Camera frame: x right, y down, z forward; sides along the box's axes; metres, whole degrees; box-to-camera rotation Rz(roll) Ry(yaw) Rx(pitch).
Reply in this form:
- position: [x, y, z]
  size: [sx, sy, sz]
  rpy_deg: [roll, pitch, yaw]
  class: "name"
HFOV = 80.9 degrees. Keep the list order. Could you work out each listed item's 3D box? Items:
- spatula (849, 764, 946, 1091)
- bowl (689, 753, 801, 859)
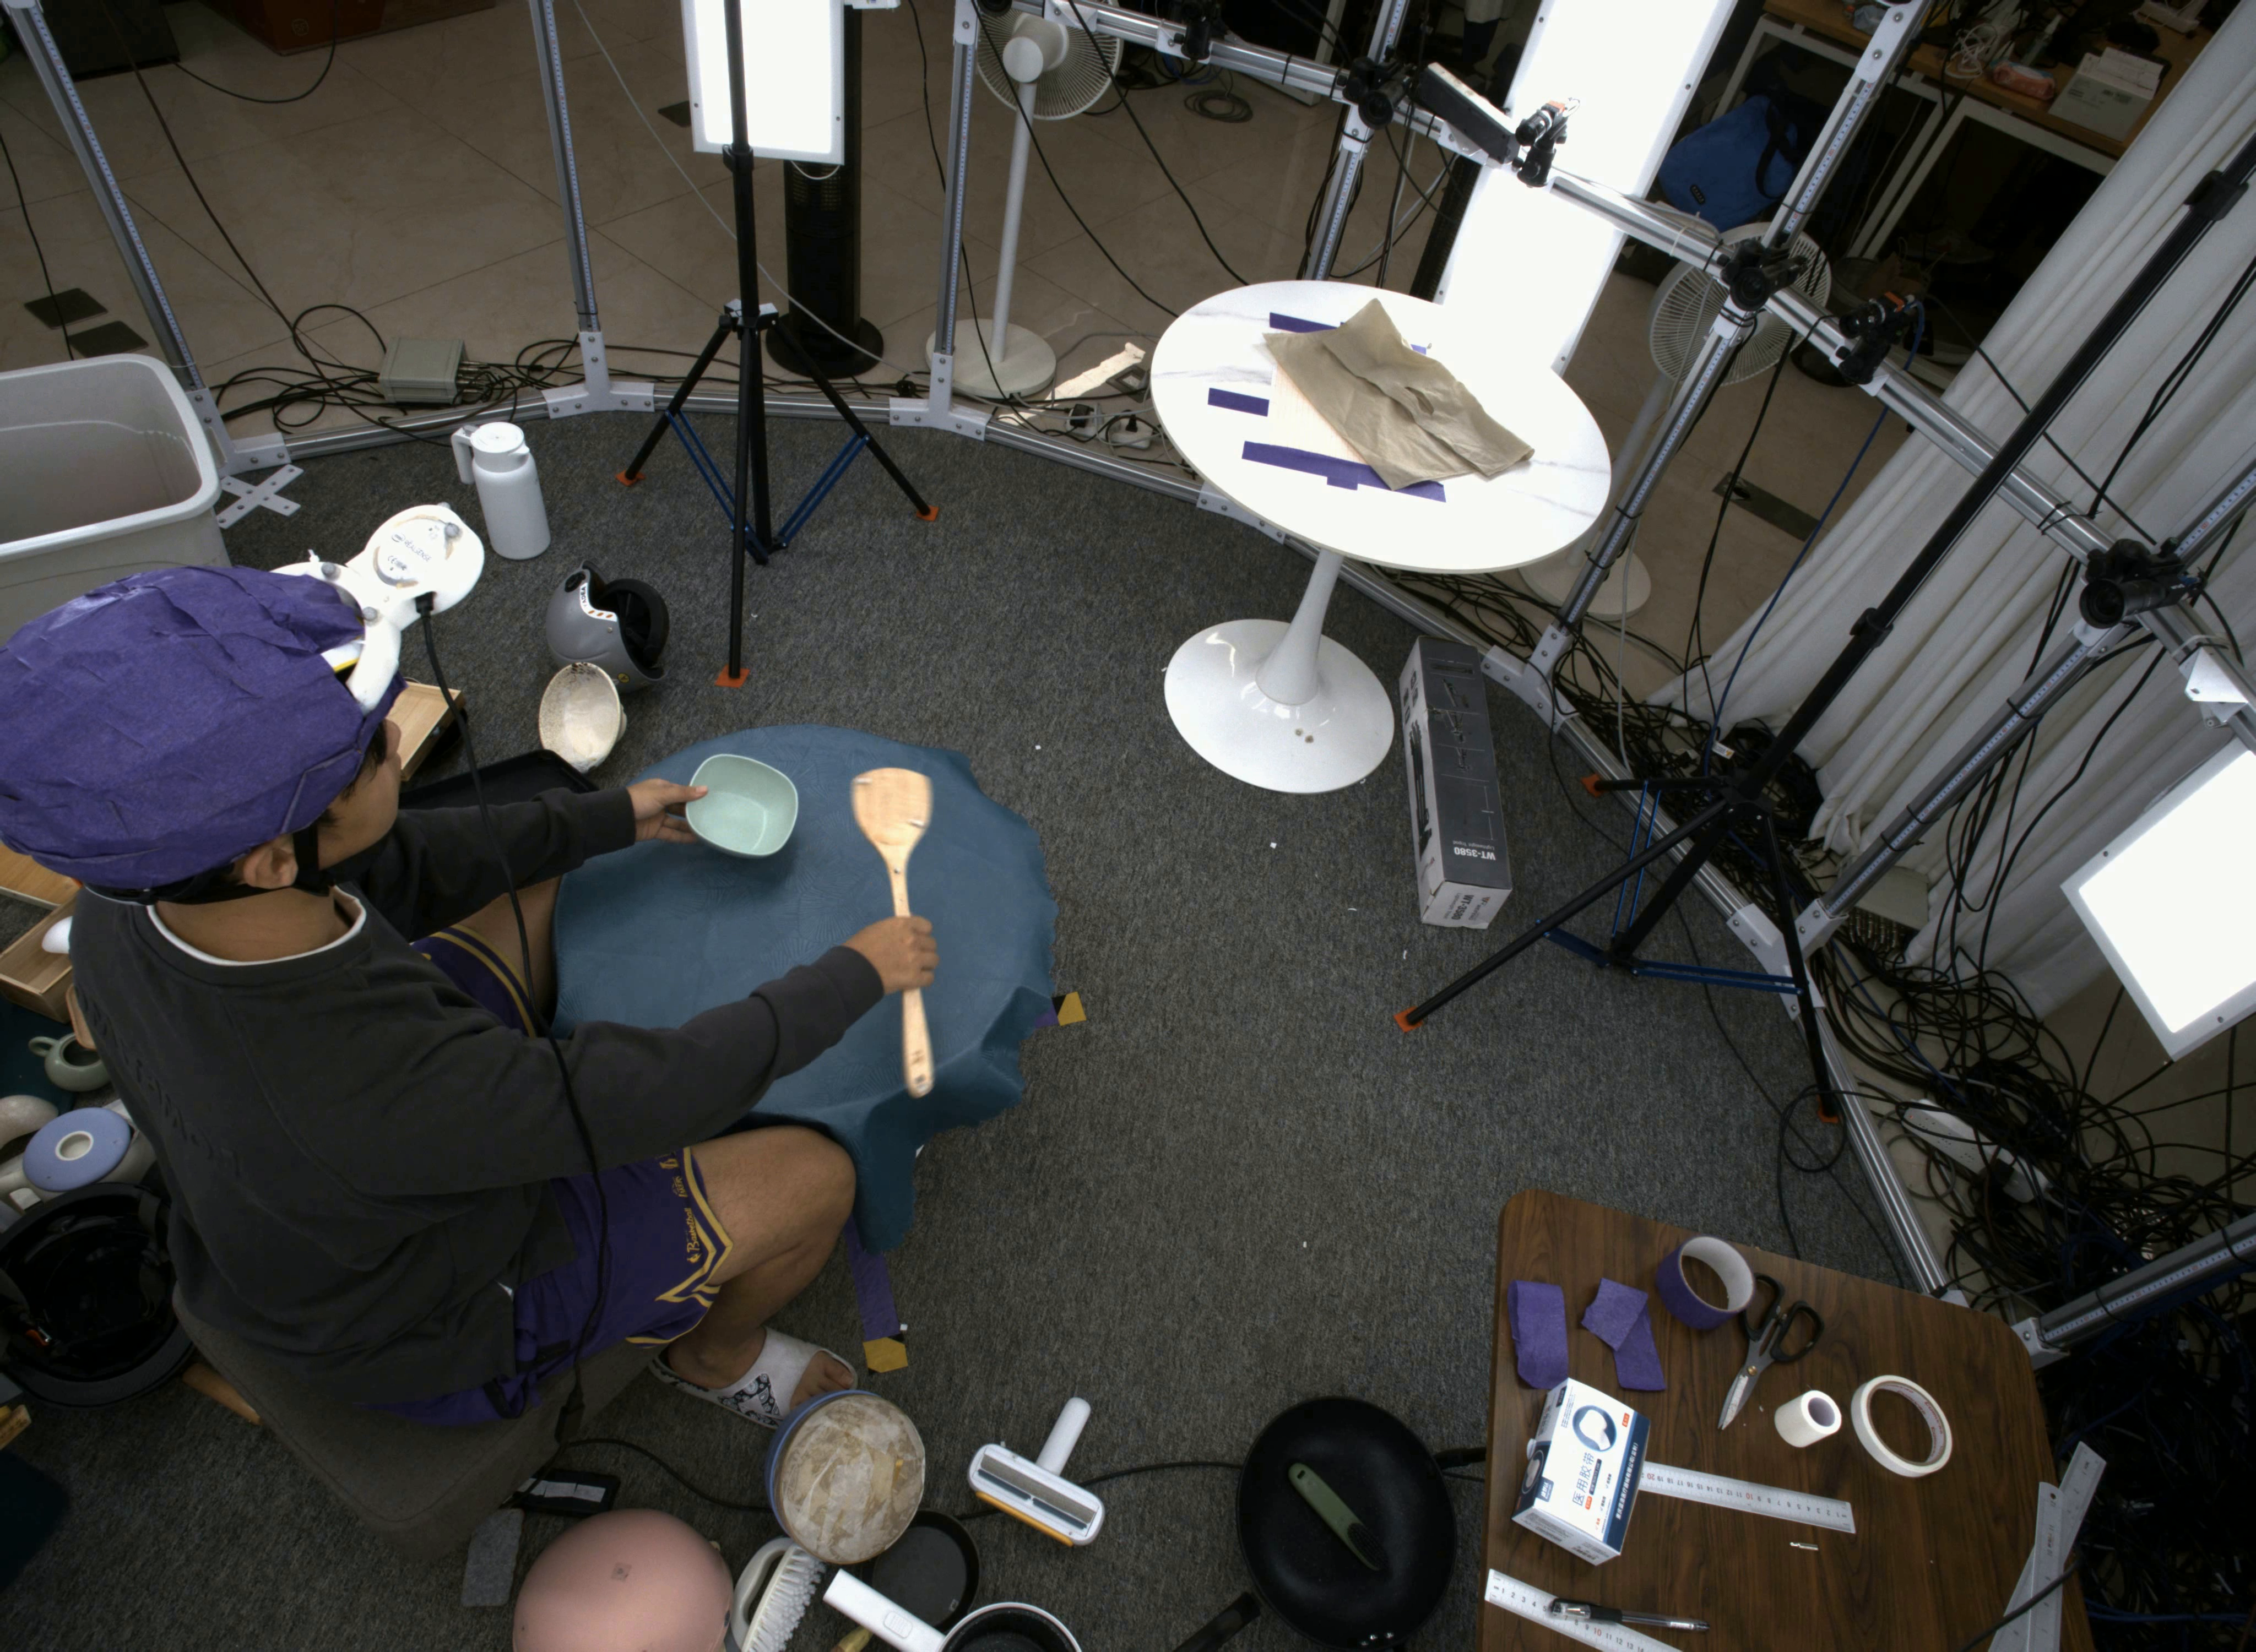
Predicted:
- position: [-0.252, 0.111, 1.513]
  size: [0.097, 0.018, 0.388]
  rpy_deg: [-5, 73, -28]
  class: "spatula"
- position: [-0.495, -0.016, 1.655]
  size: [0.154, 0.058, 0.149]
  rpy_deg: [18, 55, -25]
  class: "bowl"
